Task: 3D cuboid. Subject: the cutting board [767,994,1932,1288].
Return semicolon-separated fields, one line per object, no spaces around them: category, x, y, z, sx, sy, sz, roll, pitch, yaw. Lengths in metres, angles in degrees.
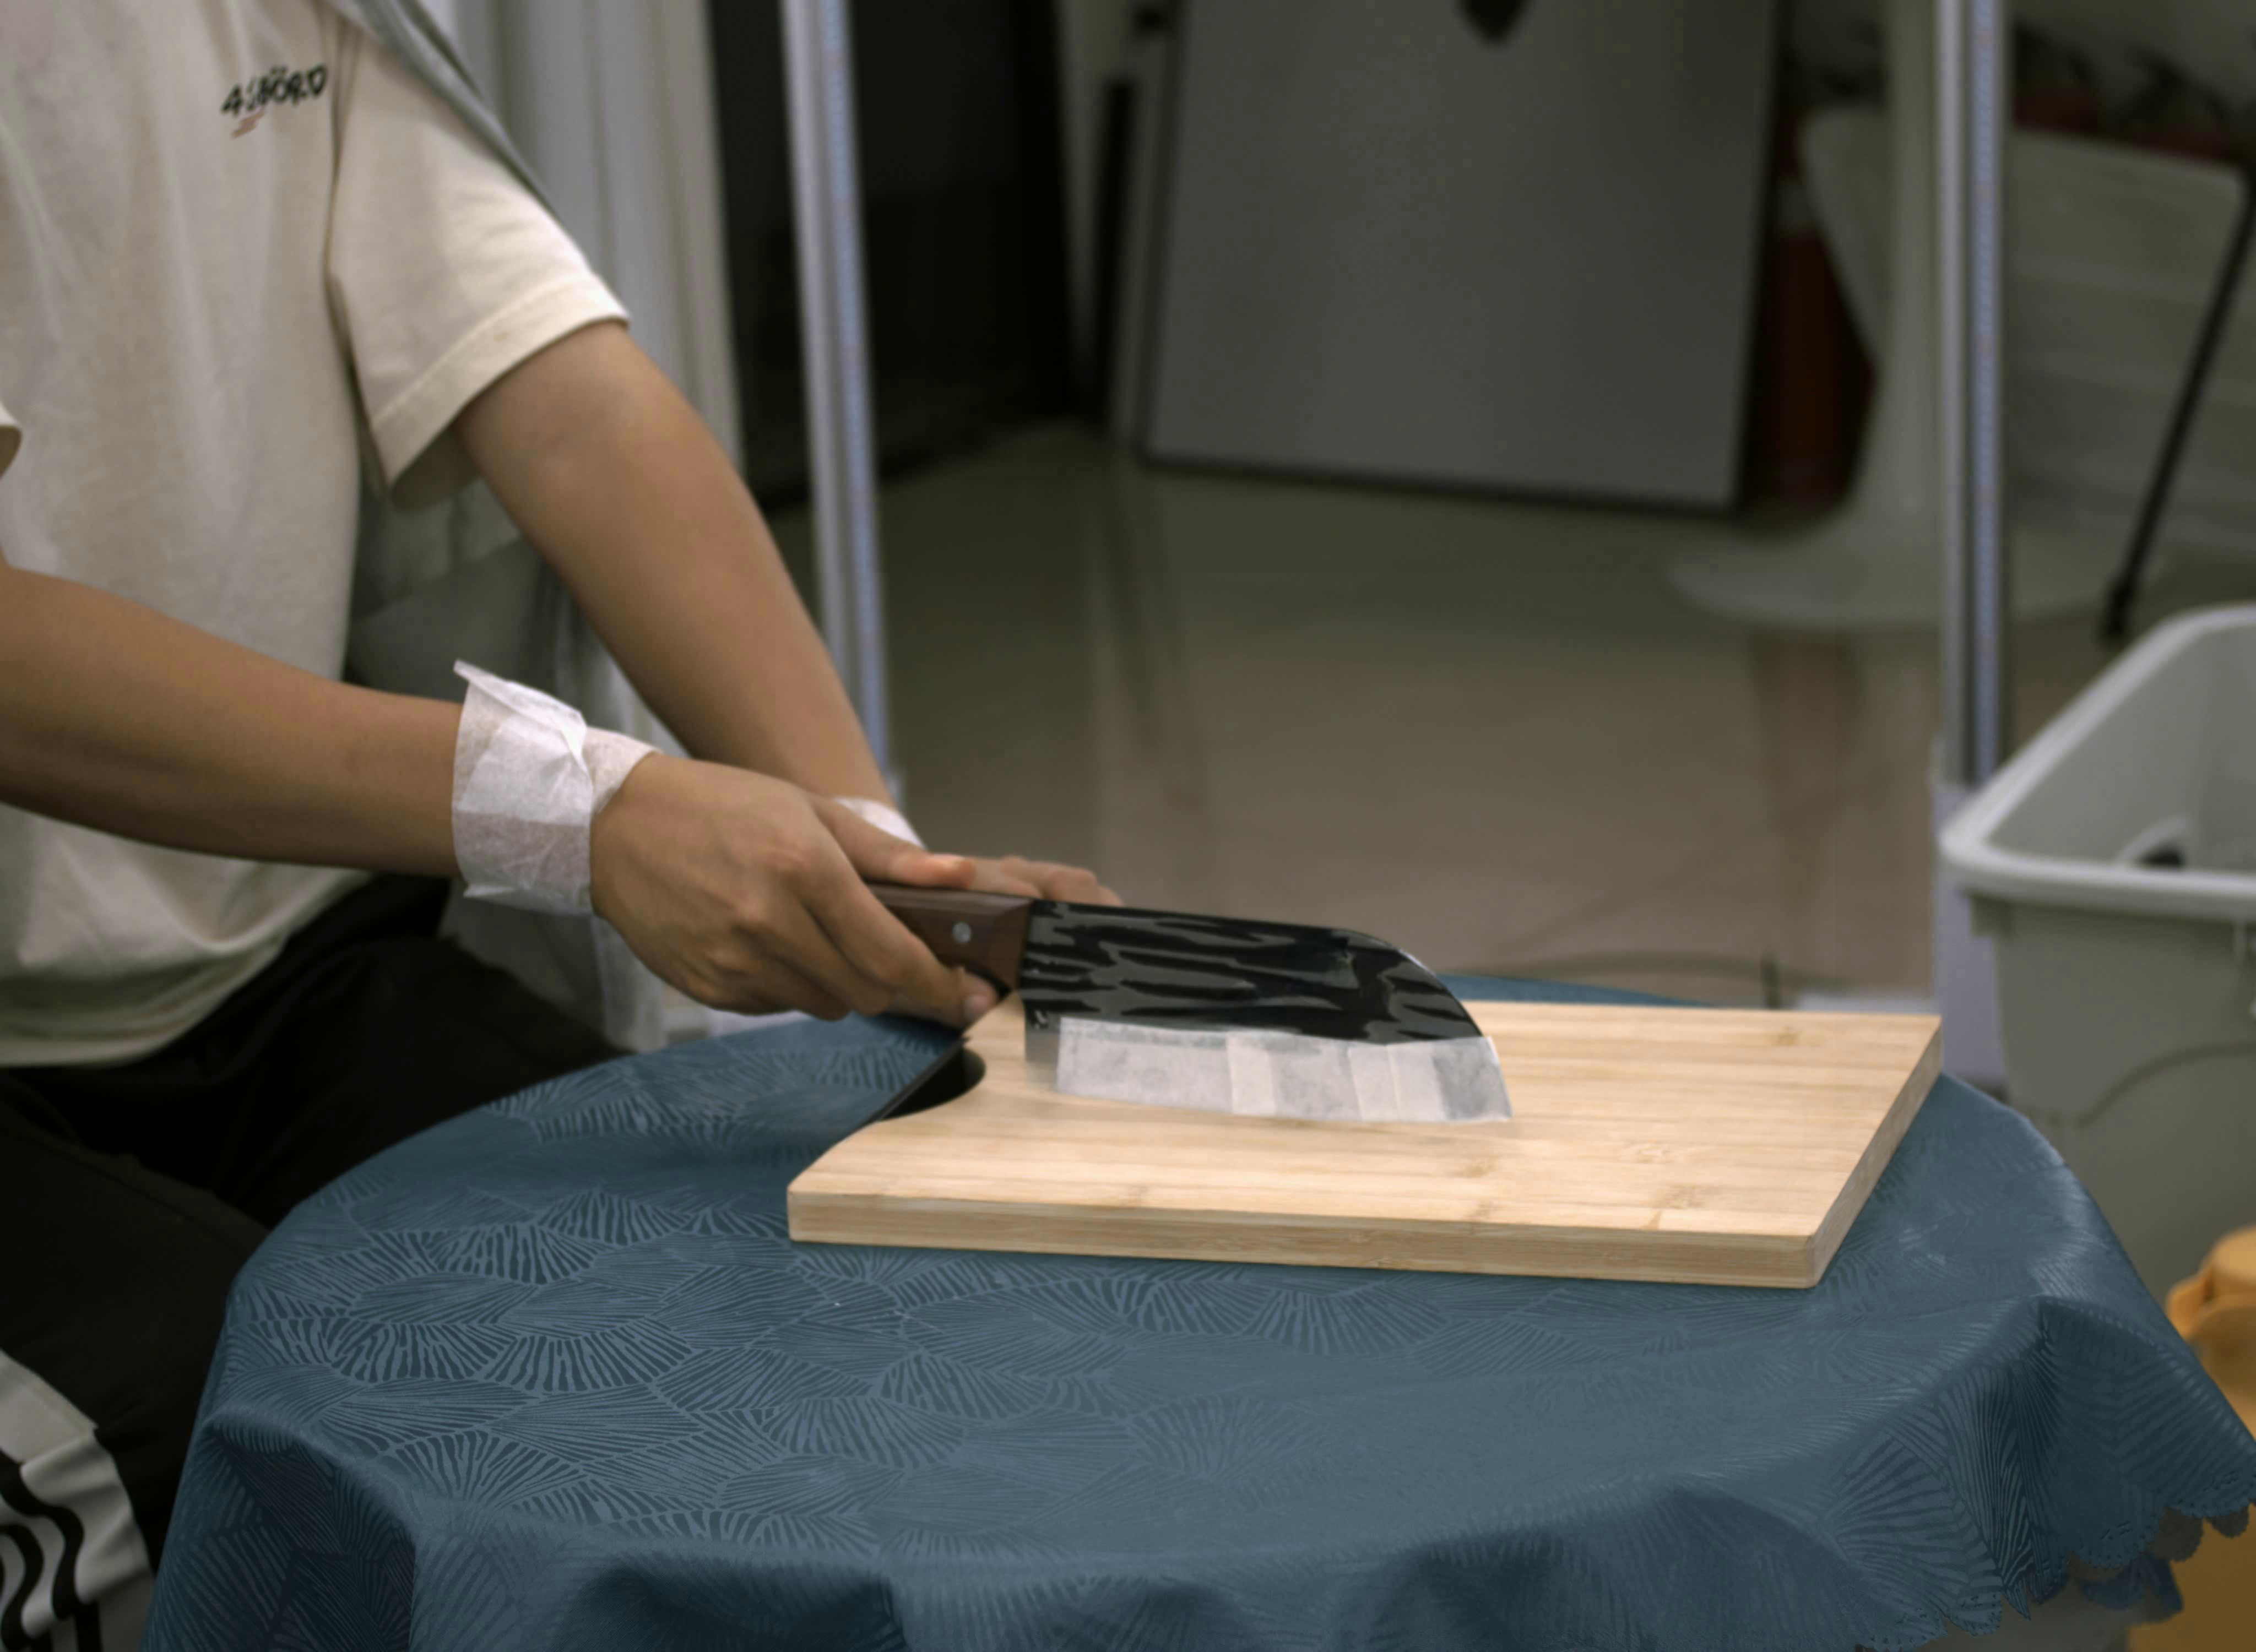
cutting board;0.080;0.102;1.798;0.348;0.024;0.248;0;14;18

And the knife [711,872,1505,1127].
knife;-0.010;0.058;1.804;0.300;0.069;0.023;7;10;27
